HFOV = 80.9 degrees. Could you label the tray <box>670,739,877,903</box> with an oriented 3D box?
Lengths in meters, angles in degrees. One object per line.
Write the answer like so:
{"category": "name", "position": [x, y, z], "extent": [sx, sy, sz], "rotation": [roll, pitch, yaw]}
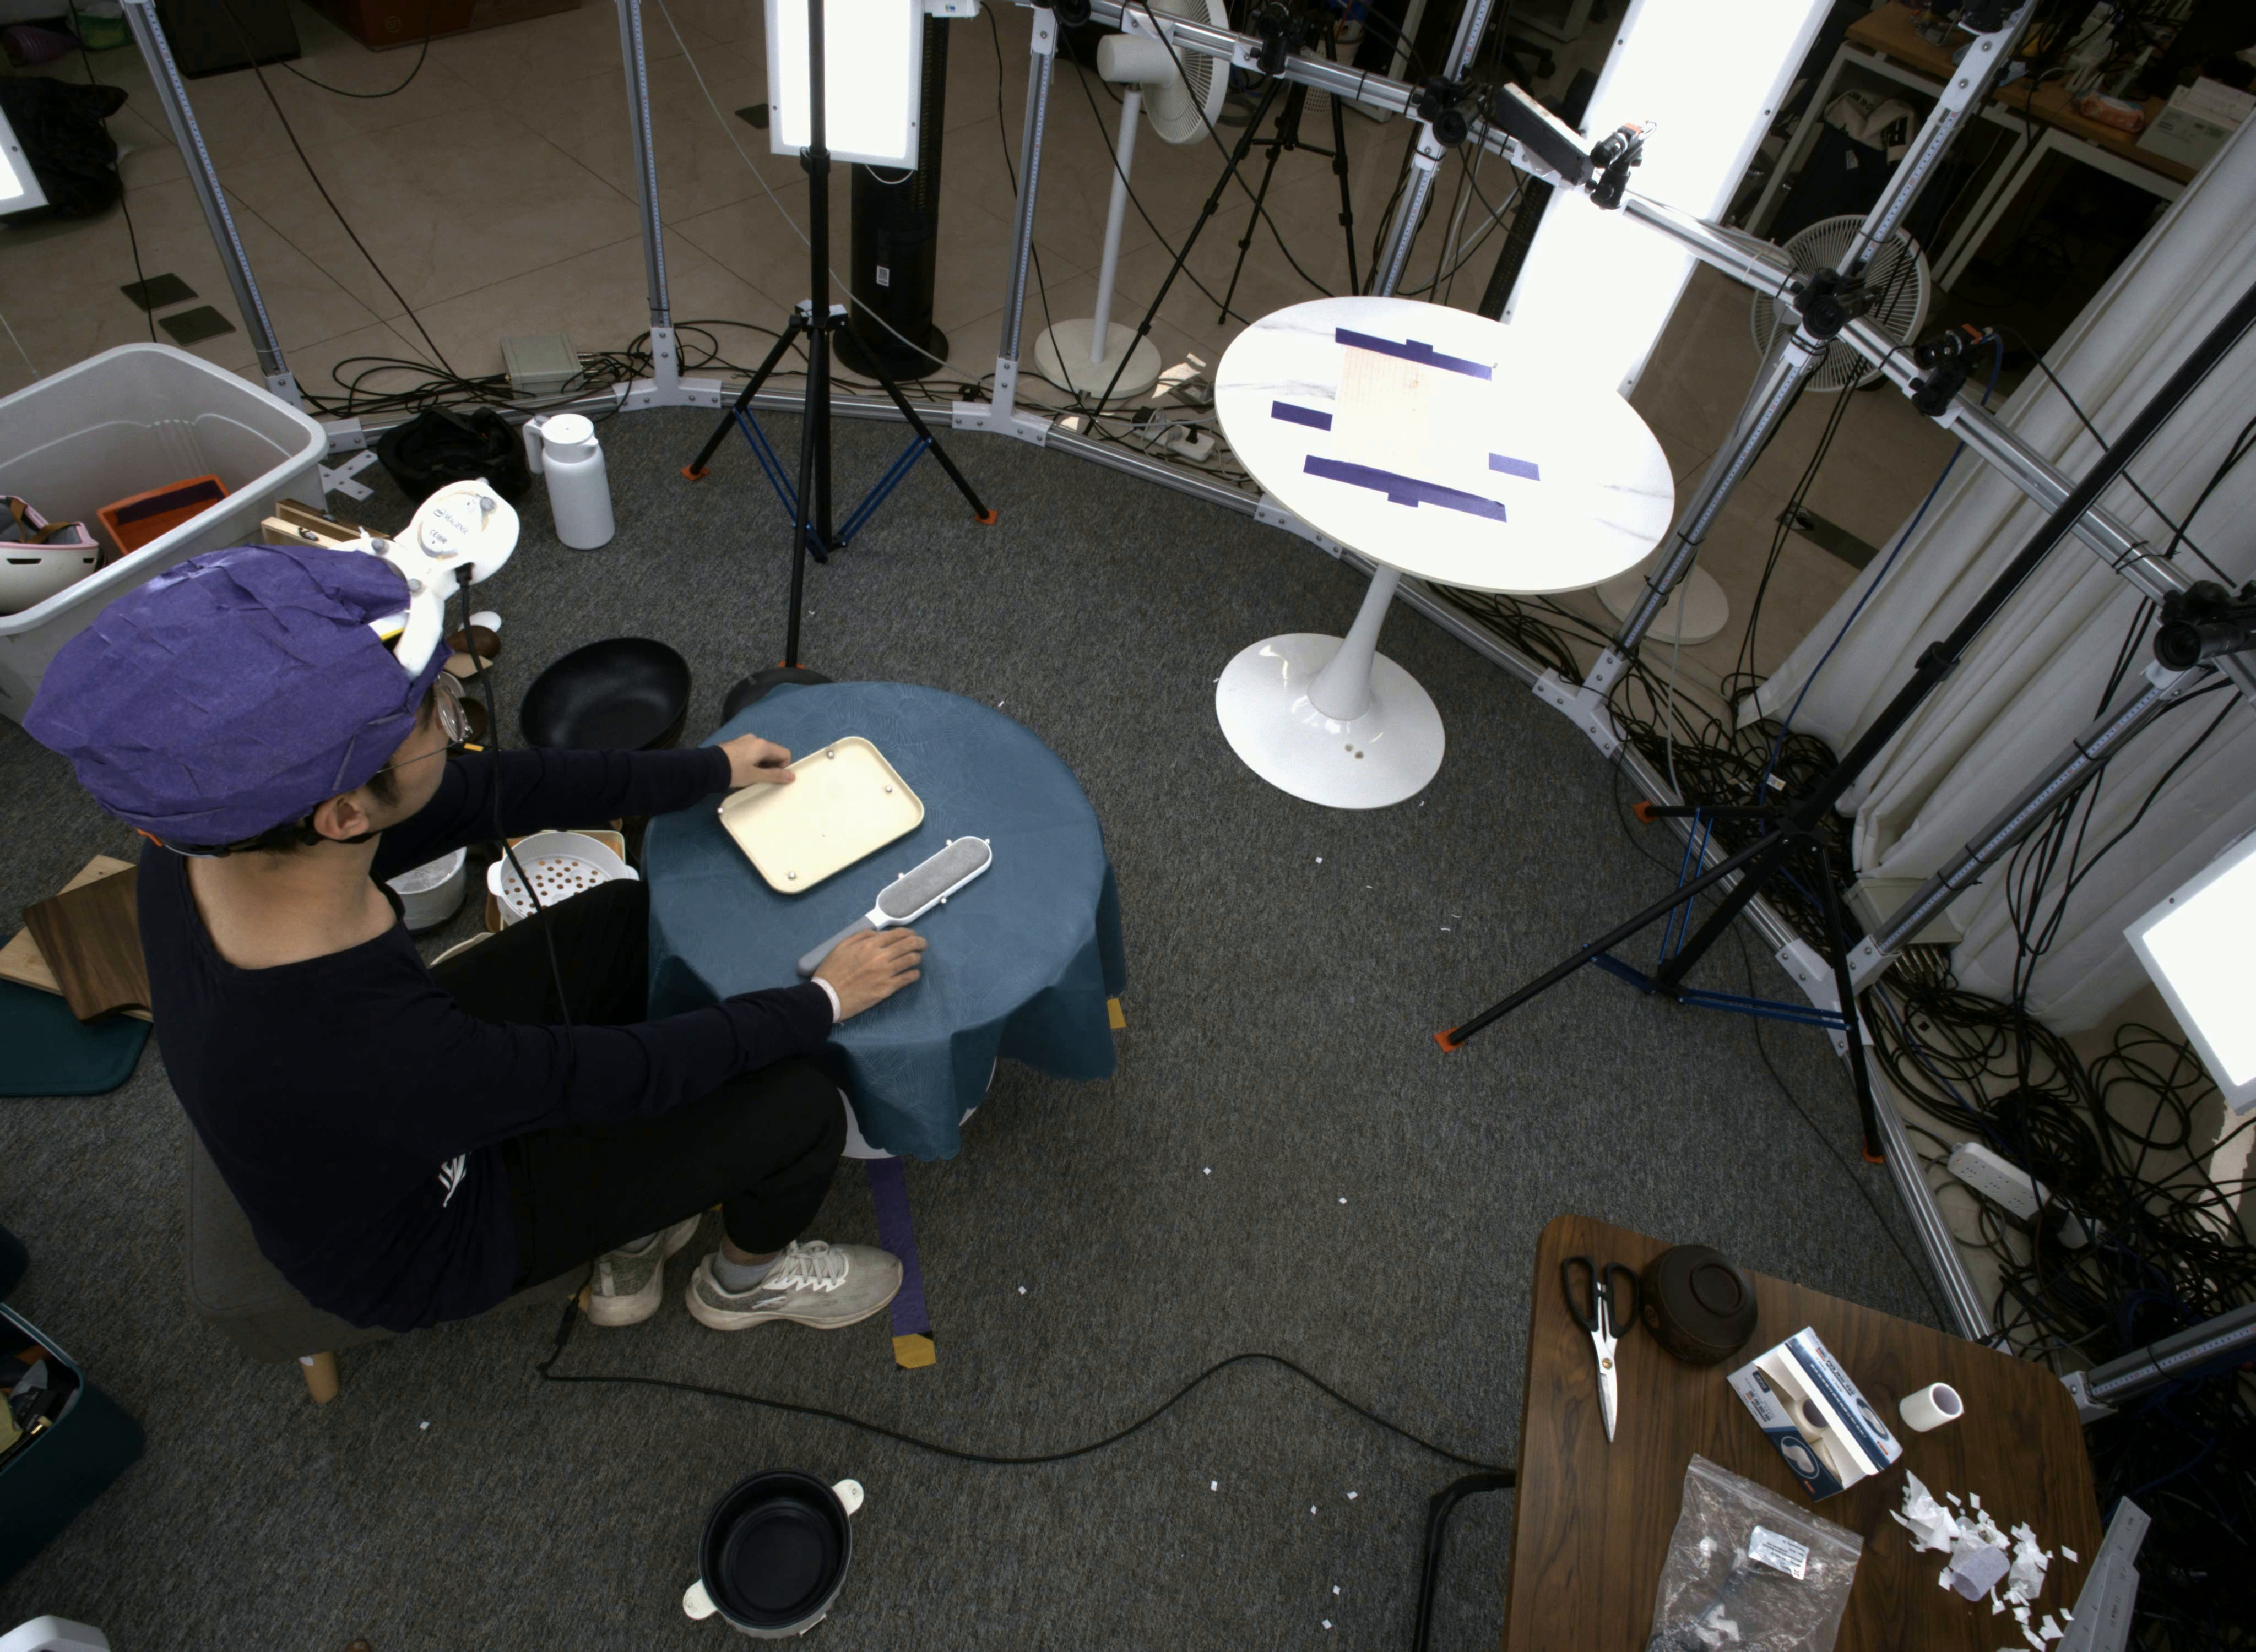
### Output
{"category": "tray", "position": [-0.466, -0.009, 1.710], "extent": [0.169, 0.018, 0.240], "rotation": [46, 56, 11]}

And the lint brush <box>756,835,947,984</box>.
{"category": "lint brush", "position": [-0.351, 0.102, 1.660], "extent": [0.059, 0.021, 0.309], "rotation": [43, 55, 12]}
